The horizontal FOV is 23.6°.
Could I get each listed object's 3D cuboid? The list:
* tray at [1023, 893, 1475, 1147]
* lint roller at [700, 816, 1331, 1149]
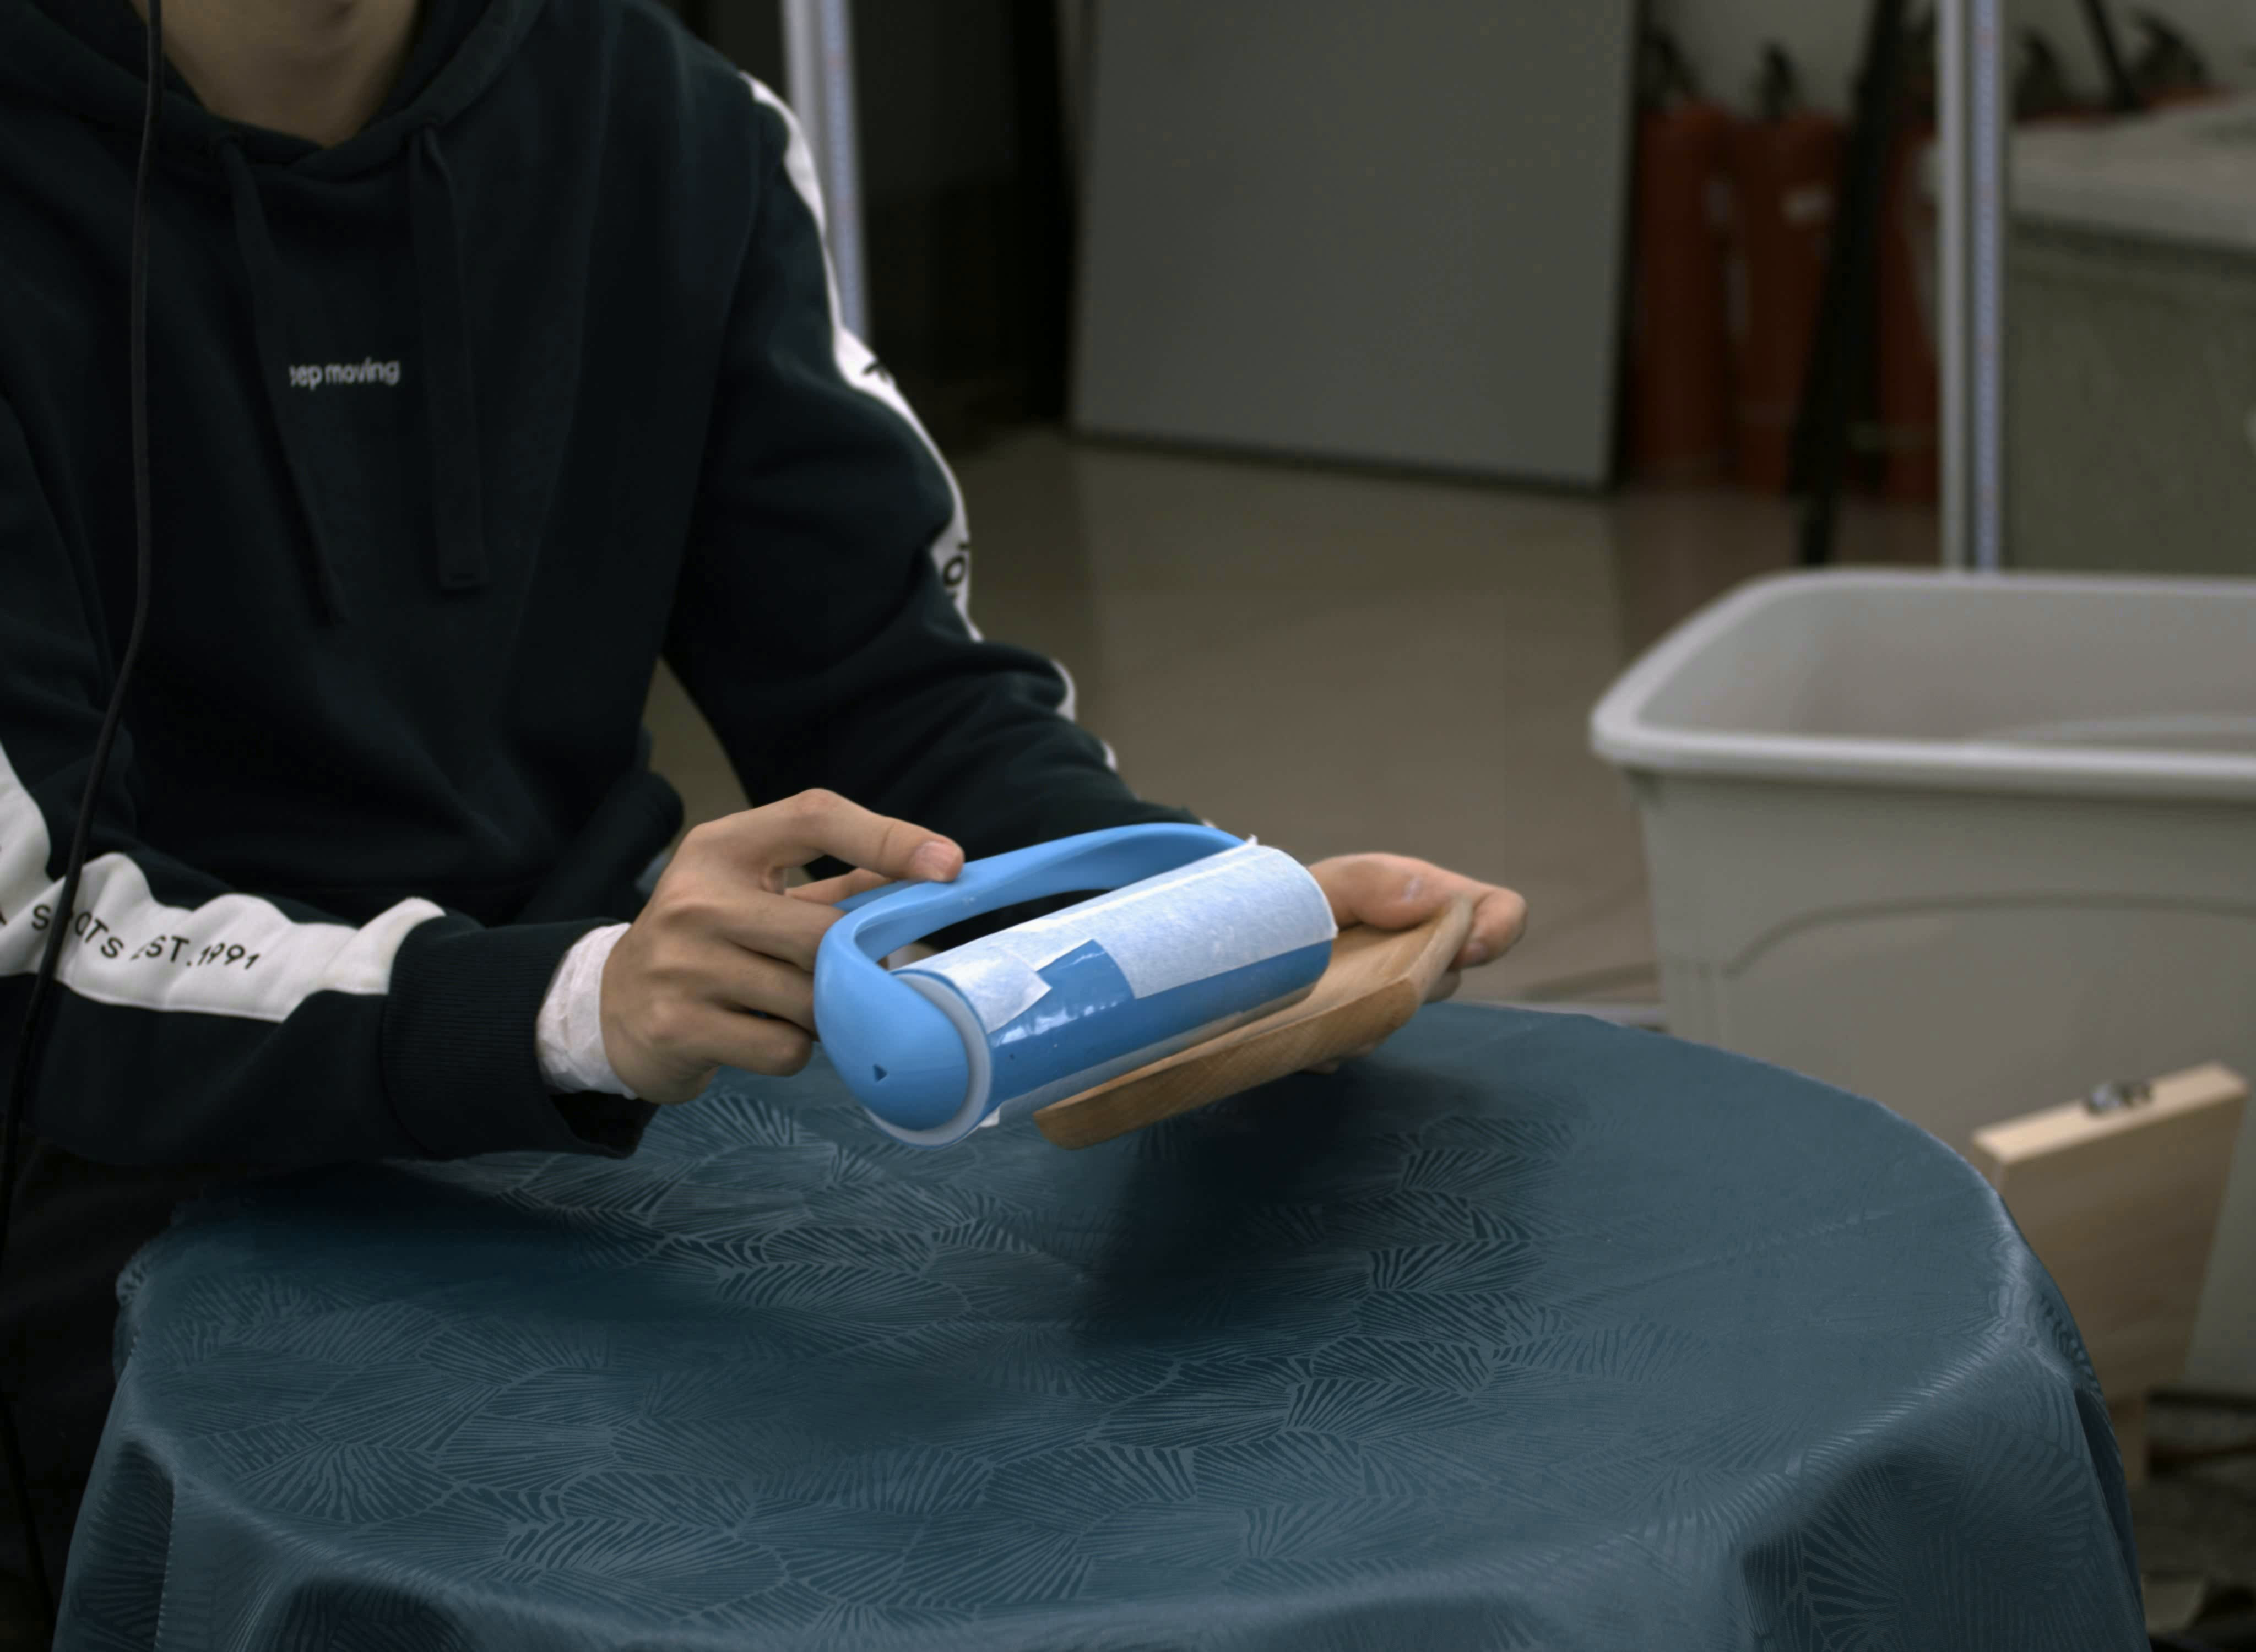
[{"bbox_3d":[0.044,0.061,1.734,0.130,0.023,0.249,-24,2,12],"label":"tray"},{"bbox_3d":[-0.060,0.045,1.641,0.181,0.068,0.225,1,13,31],"label":"lint roller"}]
